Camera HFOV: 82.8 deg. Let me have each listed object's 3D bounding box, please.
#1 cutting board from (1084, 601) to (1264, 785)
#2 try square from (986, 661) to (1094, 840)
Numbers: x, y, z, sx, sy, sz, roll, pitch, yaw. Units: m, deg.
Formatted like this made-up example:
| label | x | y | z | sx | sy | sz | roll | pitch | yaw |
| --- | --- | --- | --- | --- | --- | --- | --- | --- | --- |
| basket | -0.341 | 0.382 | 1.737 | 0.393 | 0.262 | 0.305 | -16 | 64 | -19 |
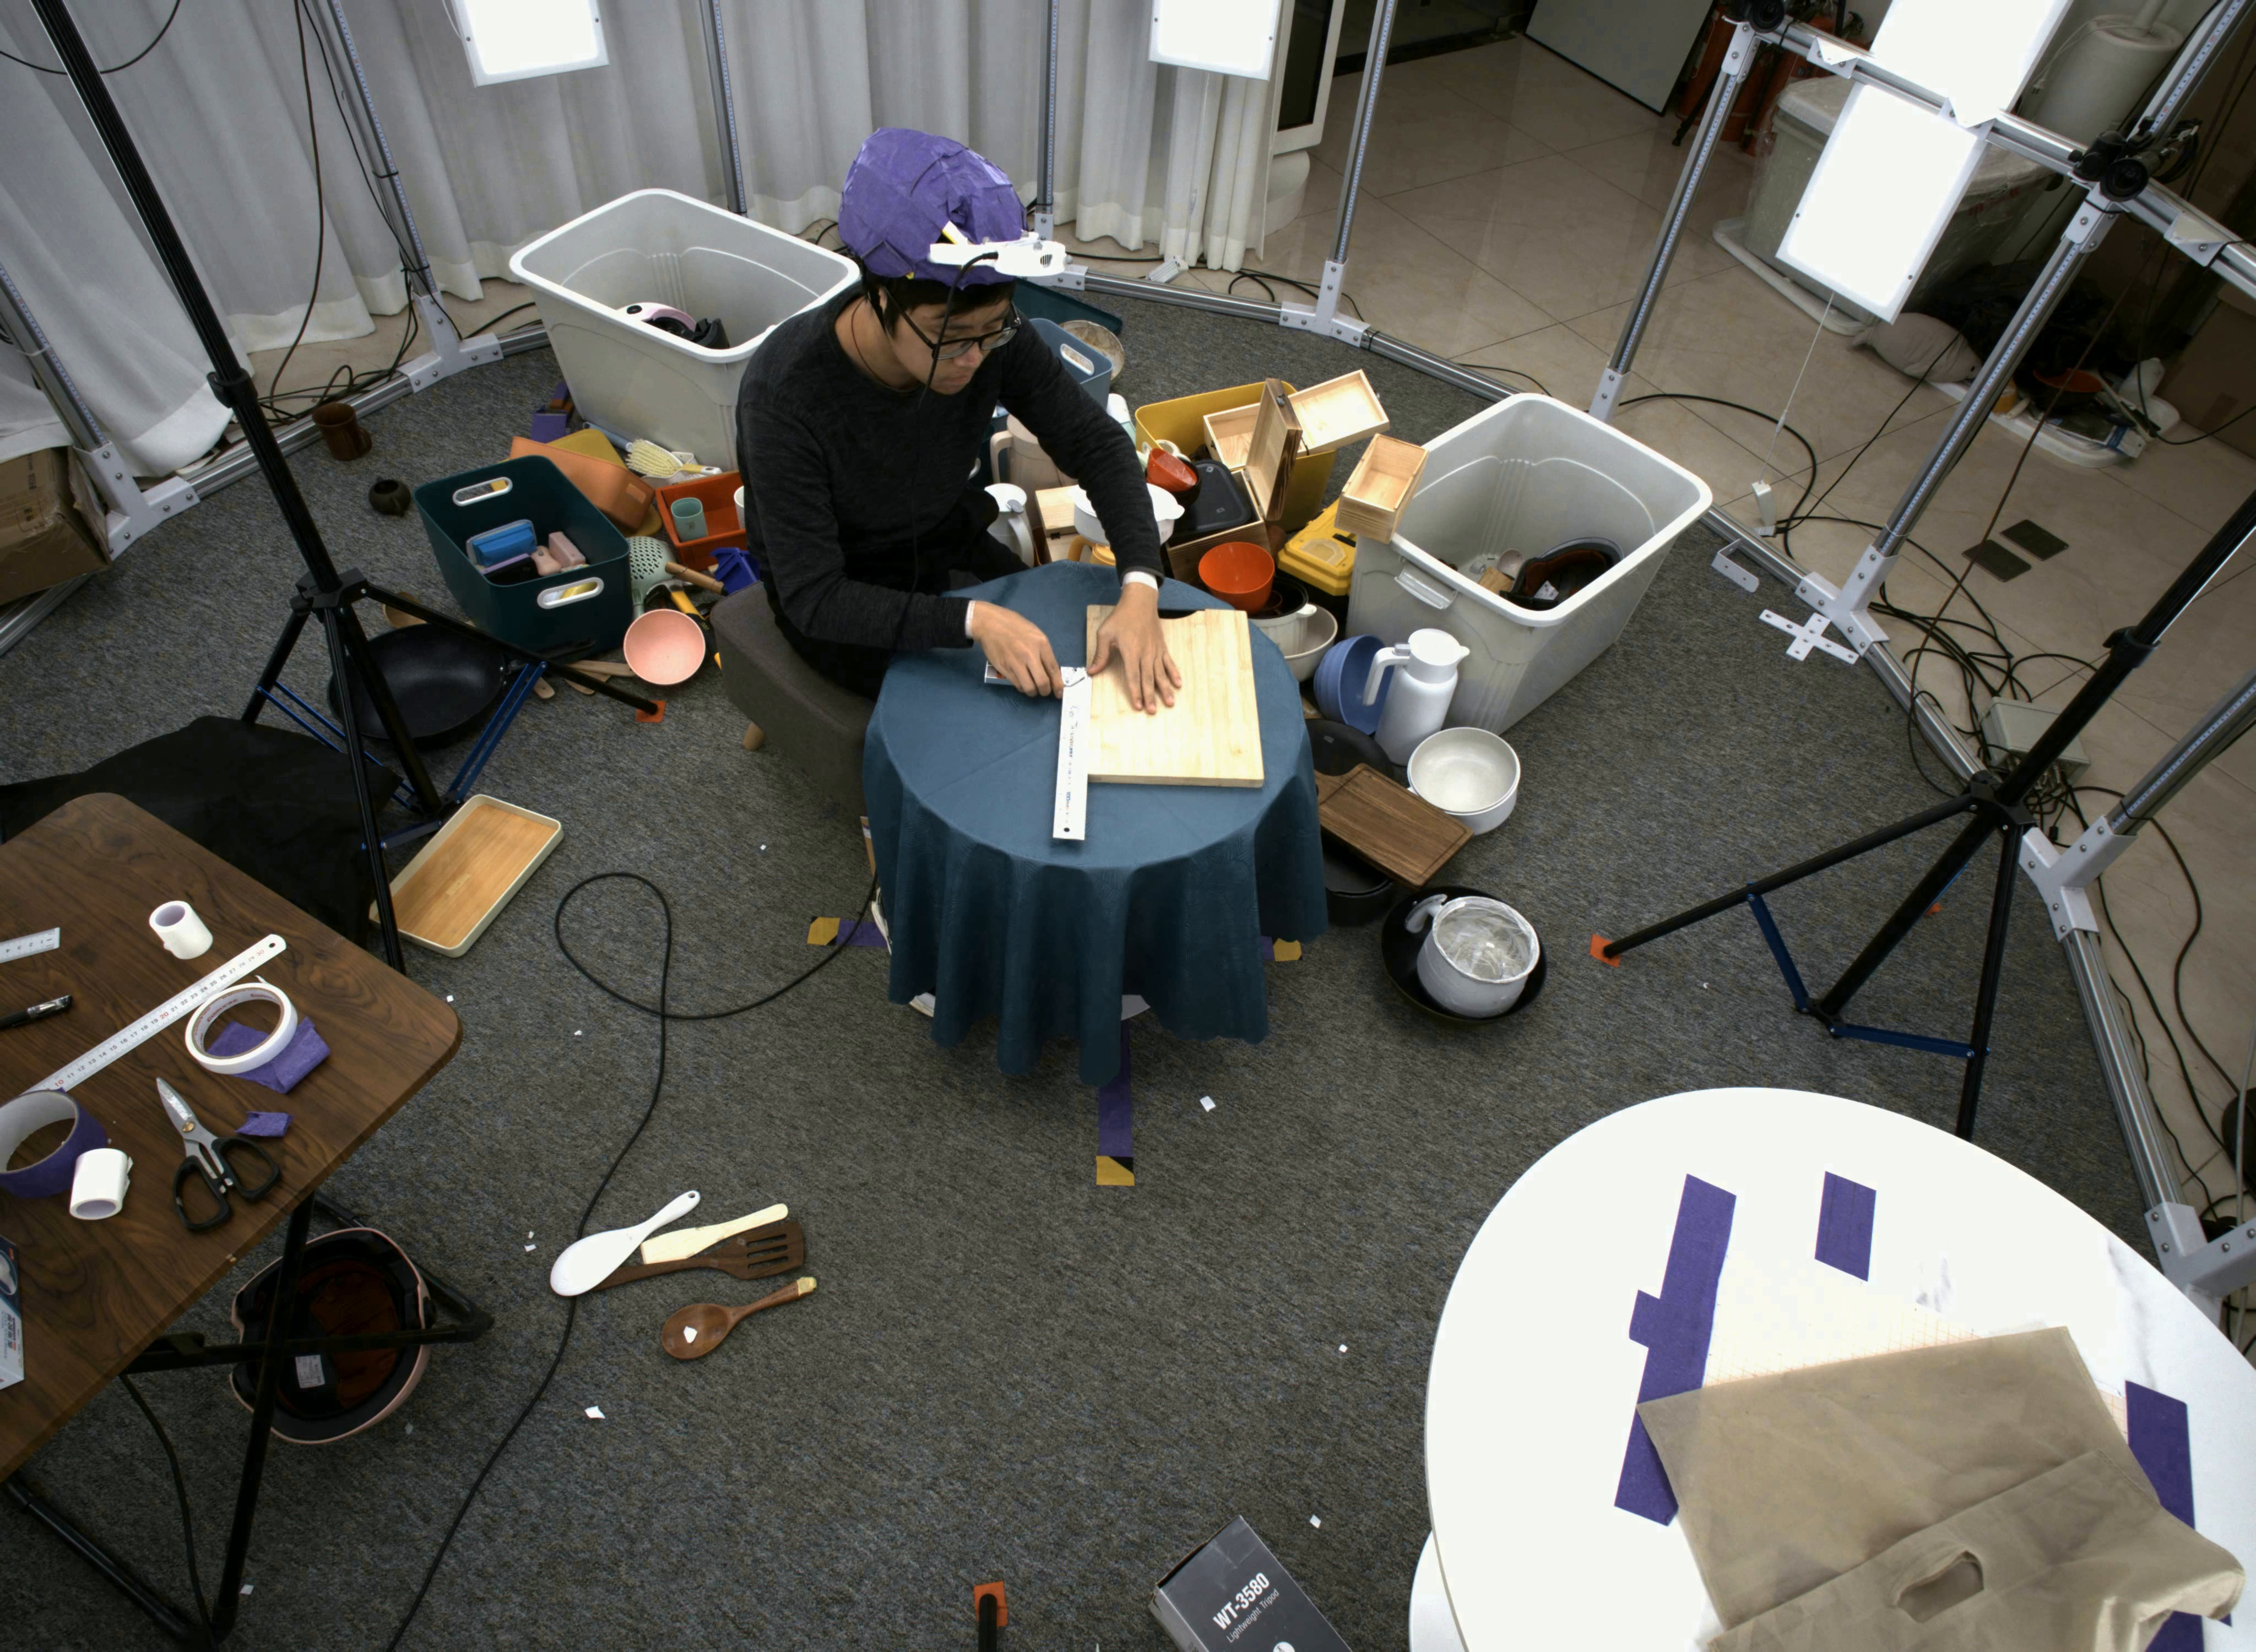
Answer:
| label | x | y | z | sx | sy | sz | roll | pitch | yaw |
| --- | --- | --- | --- | --- | --- | --- | --- | --- | --- |
| cutting board | 0.061 | -0.196 | 1.833 | 0.250 | 0.023 | 0.357 | 1 | 49 | -3 |
| try square | -0.127 | -0.108 | 1.730 | 0.152 | 0.015 | 0.321 | 3 | 49 | -1 |
